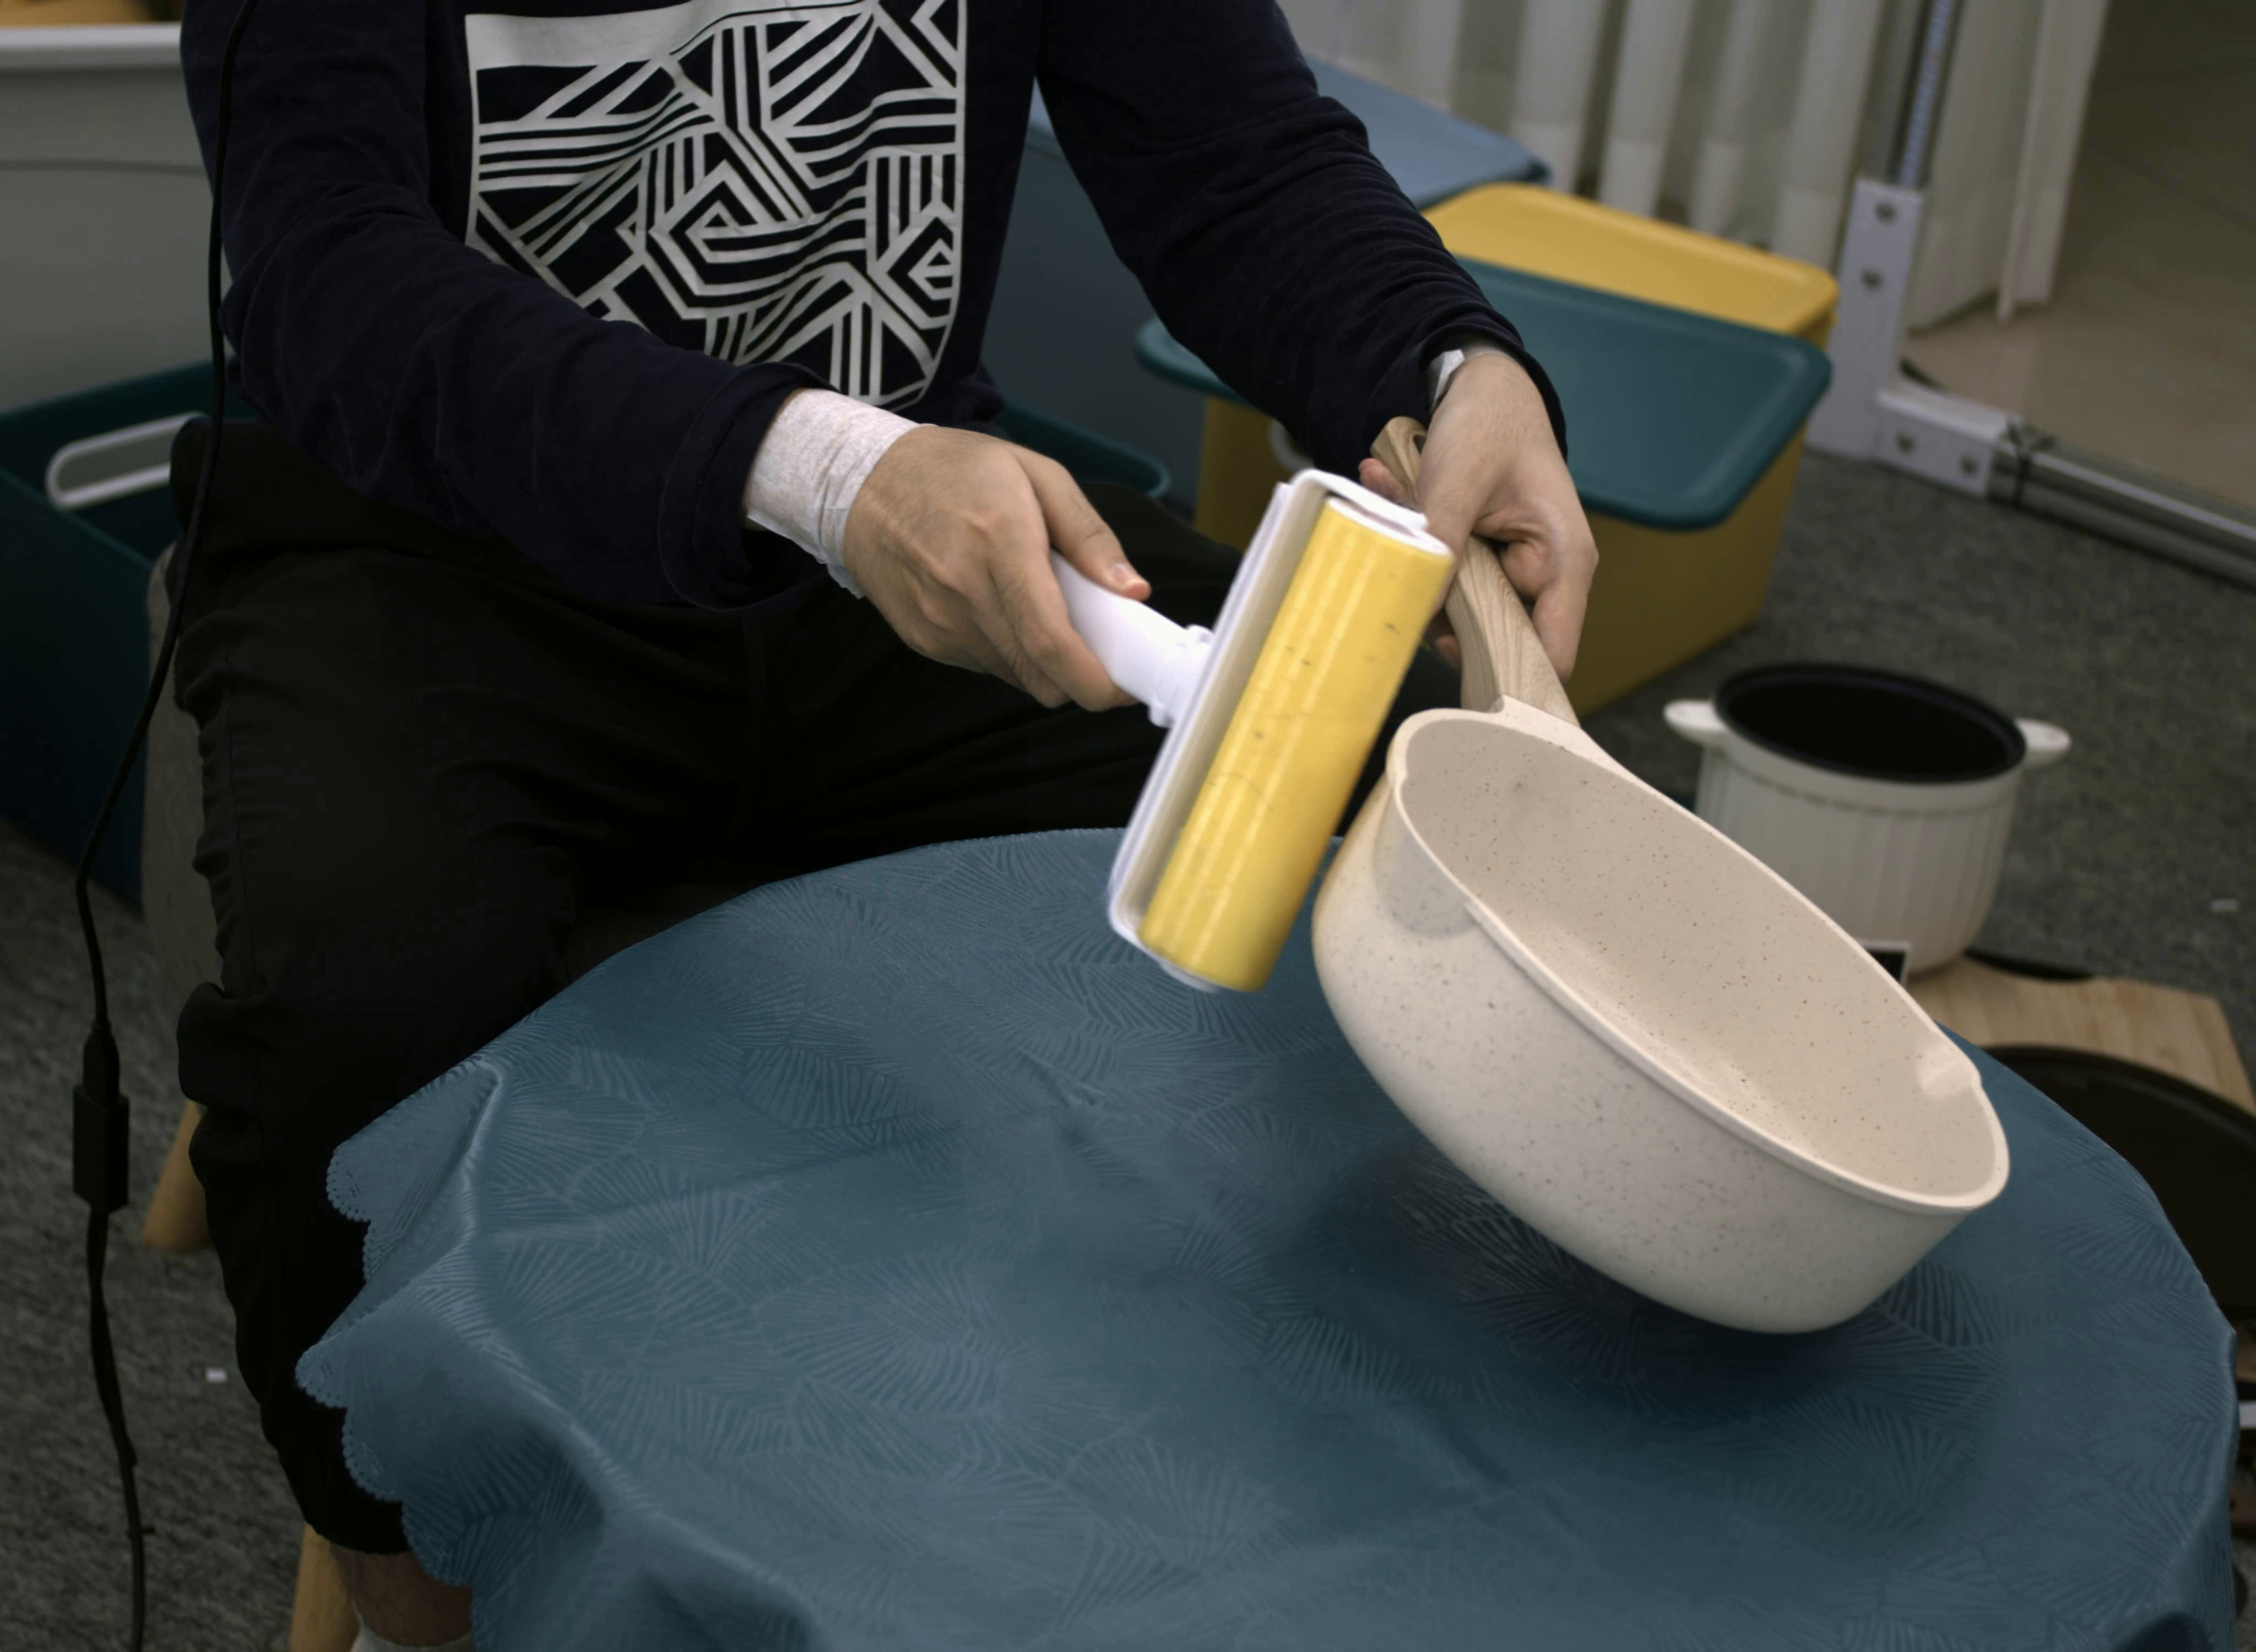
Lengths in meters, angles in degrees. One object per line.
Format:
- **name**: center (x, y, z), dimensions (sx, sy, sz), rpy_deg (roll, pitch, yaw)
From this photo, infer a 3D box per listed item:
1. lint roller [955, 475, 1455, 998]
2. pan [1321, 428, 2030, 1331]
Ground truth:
- **lint roller**: center (0.003, -0.055, 1.805), dimensions (0.193, 0.174, 0.051), rpy_deg (29, 11, 32)
- **pan**: center (0.147, 0.014, 1.843), dimensions (0.261, 0.102, 0.439), rpy_deg (19, 25, -32)
